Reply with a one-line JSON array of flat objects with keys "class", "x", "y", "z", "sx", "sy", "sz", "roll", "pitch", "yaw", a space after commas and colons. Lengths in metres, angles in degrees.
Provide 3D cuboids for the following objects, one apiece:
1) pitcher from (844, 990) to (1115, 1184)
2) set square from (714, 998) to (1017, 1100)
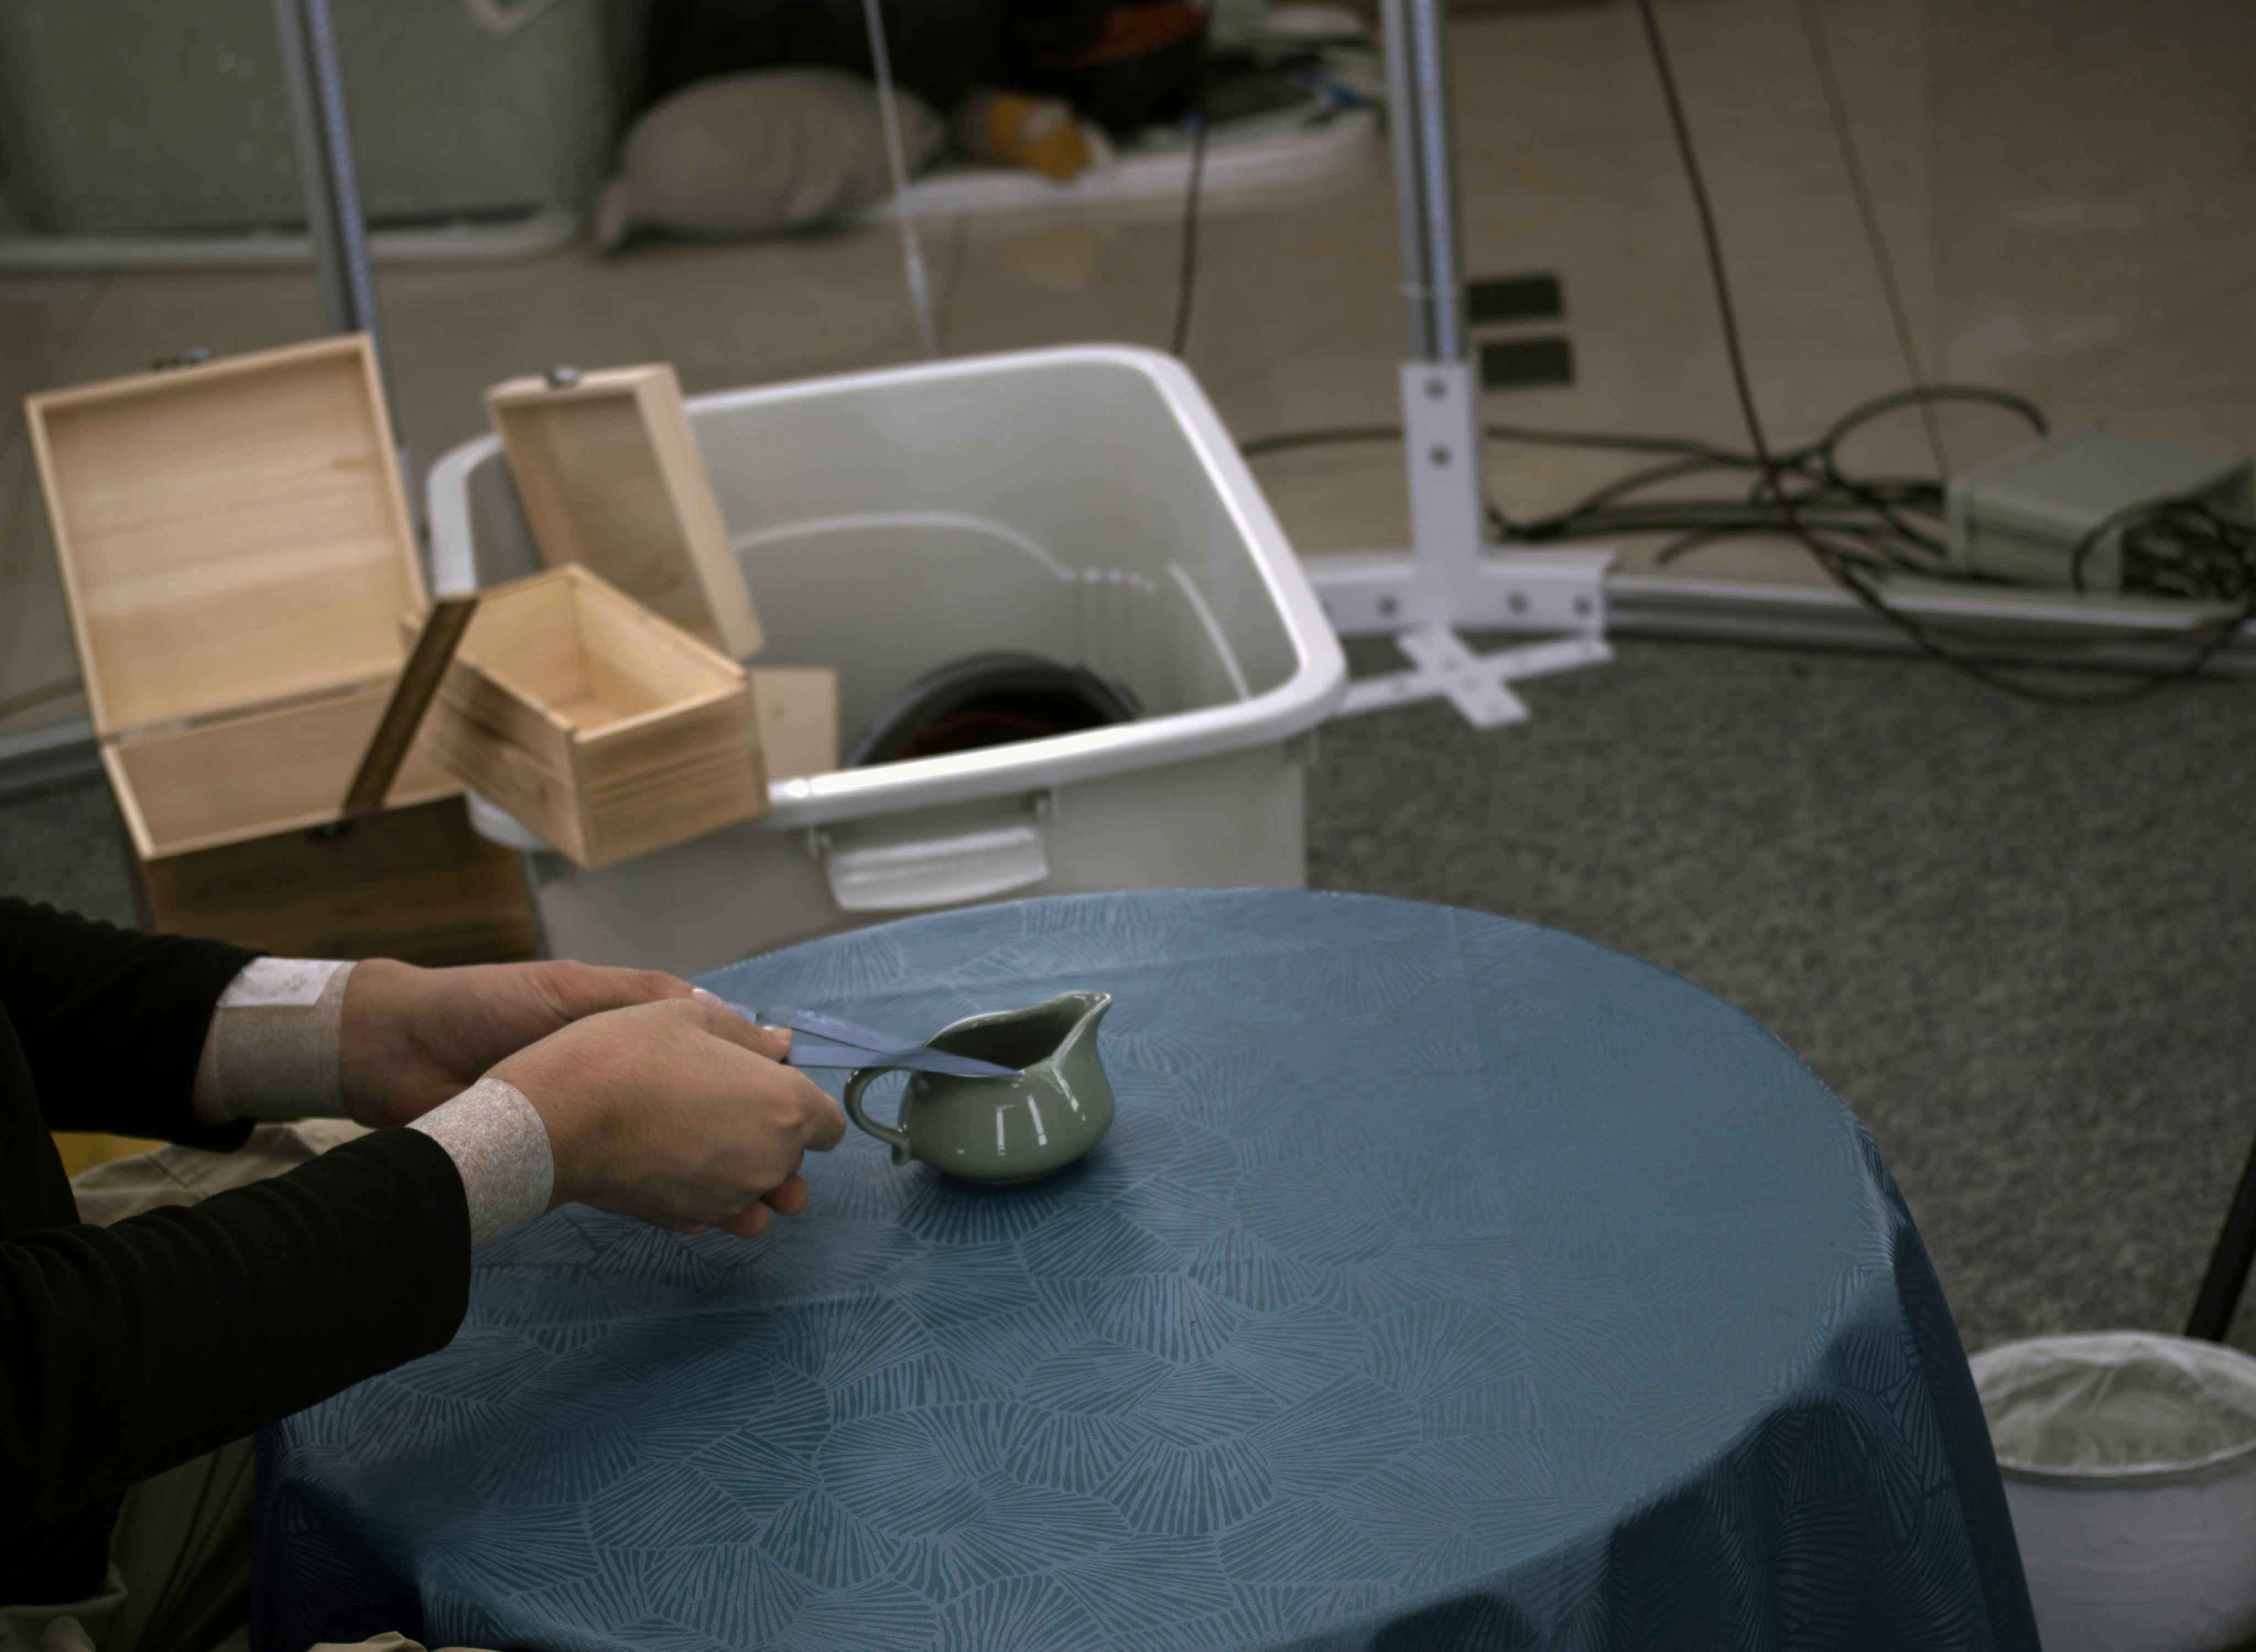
[{"class": "pitcher", "x": -0.054, "y": 0.103, "z": 2.172, "sx": 0.112, "sy": 0.057, "sz": 0.083, "roll": -16, "pitch": 25, "yaw": -20}, {"class": "set square", "x": -0.108, "y": 0.090, "z": 2.133, "sx": 0.131, "sy": 0.006, "sz": 0.060, "roll": 17, "pitch": 26, "yaw": 29}]
